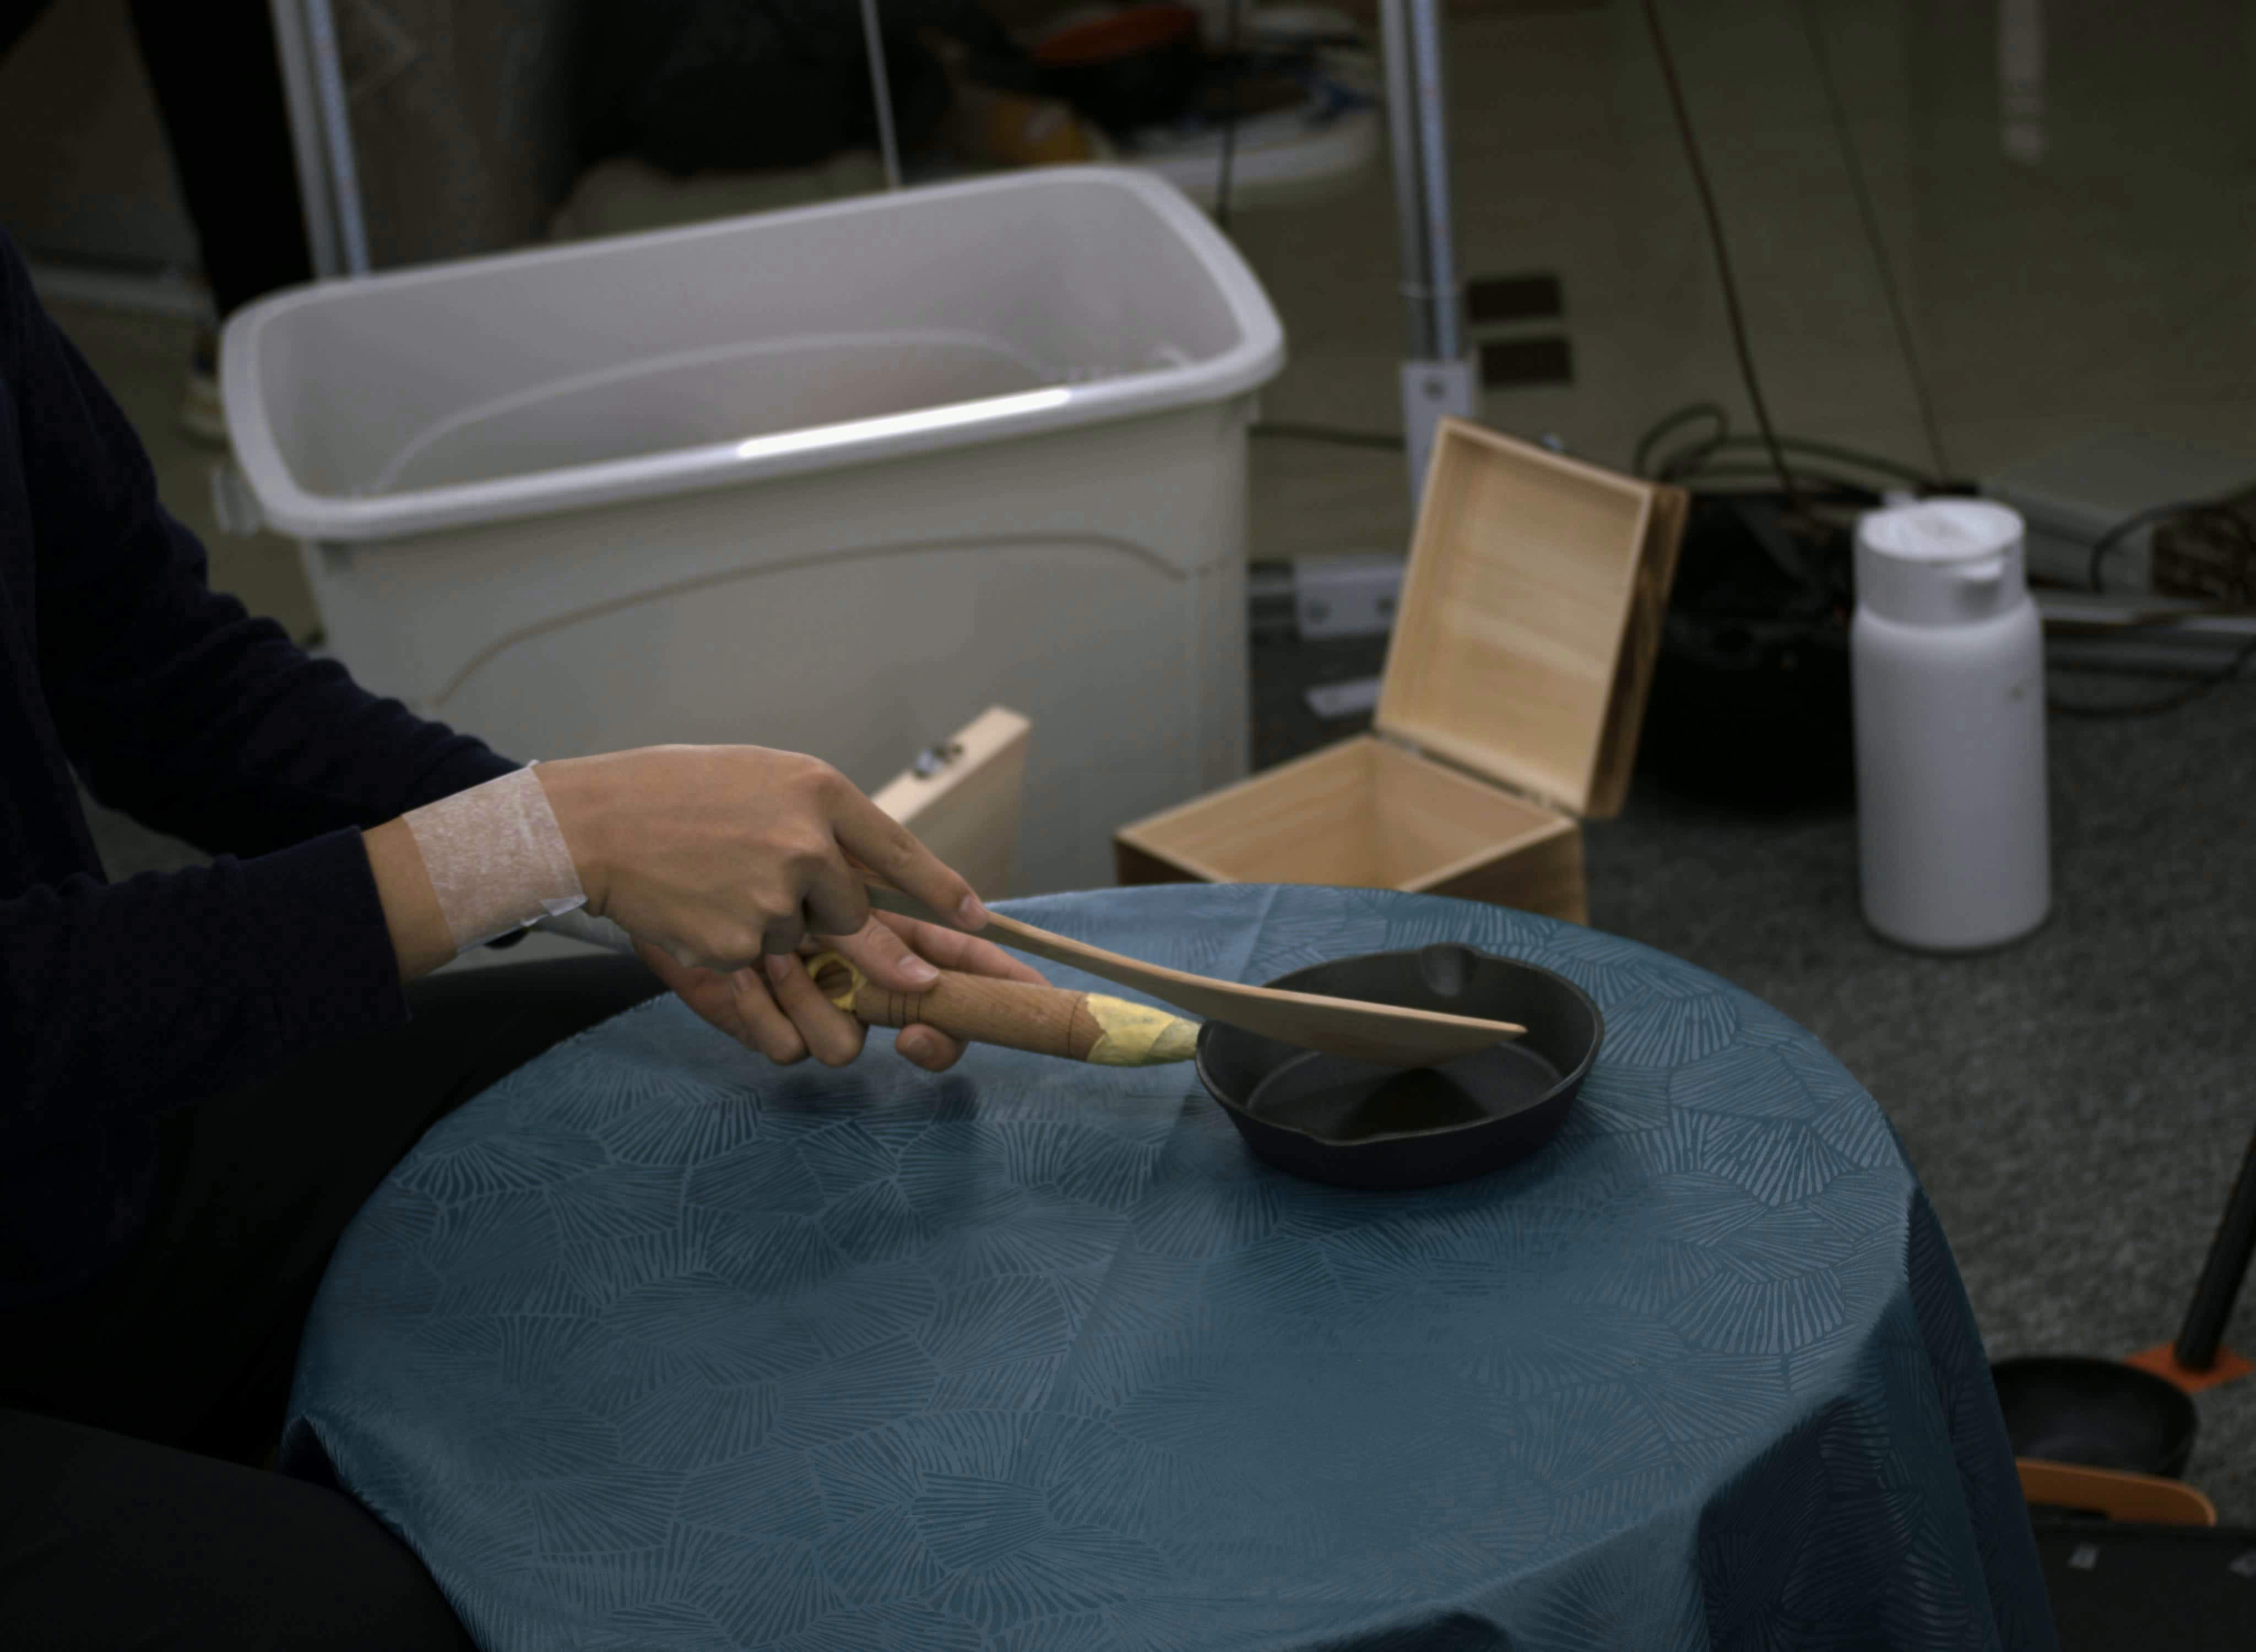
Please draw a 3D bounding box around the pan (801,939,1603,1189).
[{"bbox_3d":[0.026,0.083,2.200,0.323,0.050,0.166,5,27,20],"label":"pan"}]

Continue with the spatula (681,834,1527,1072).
[{"bbox_3d":[-0.012,0.048,2.137,0.328,0.016,0.080,17,-20,-14],"label":"spatula"}]
